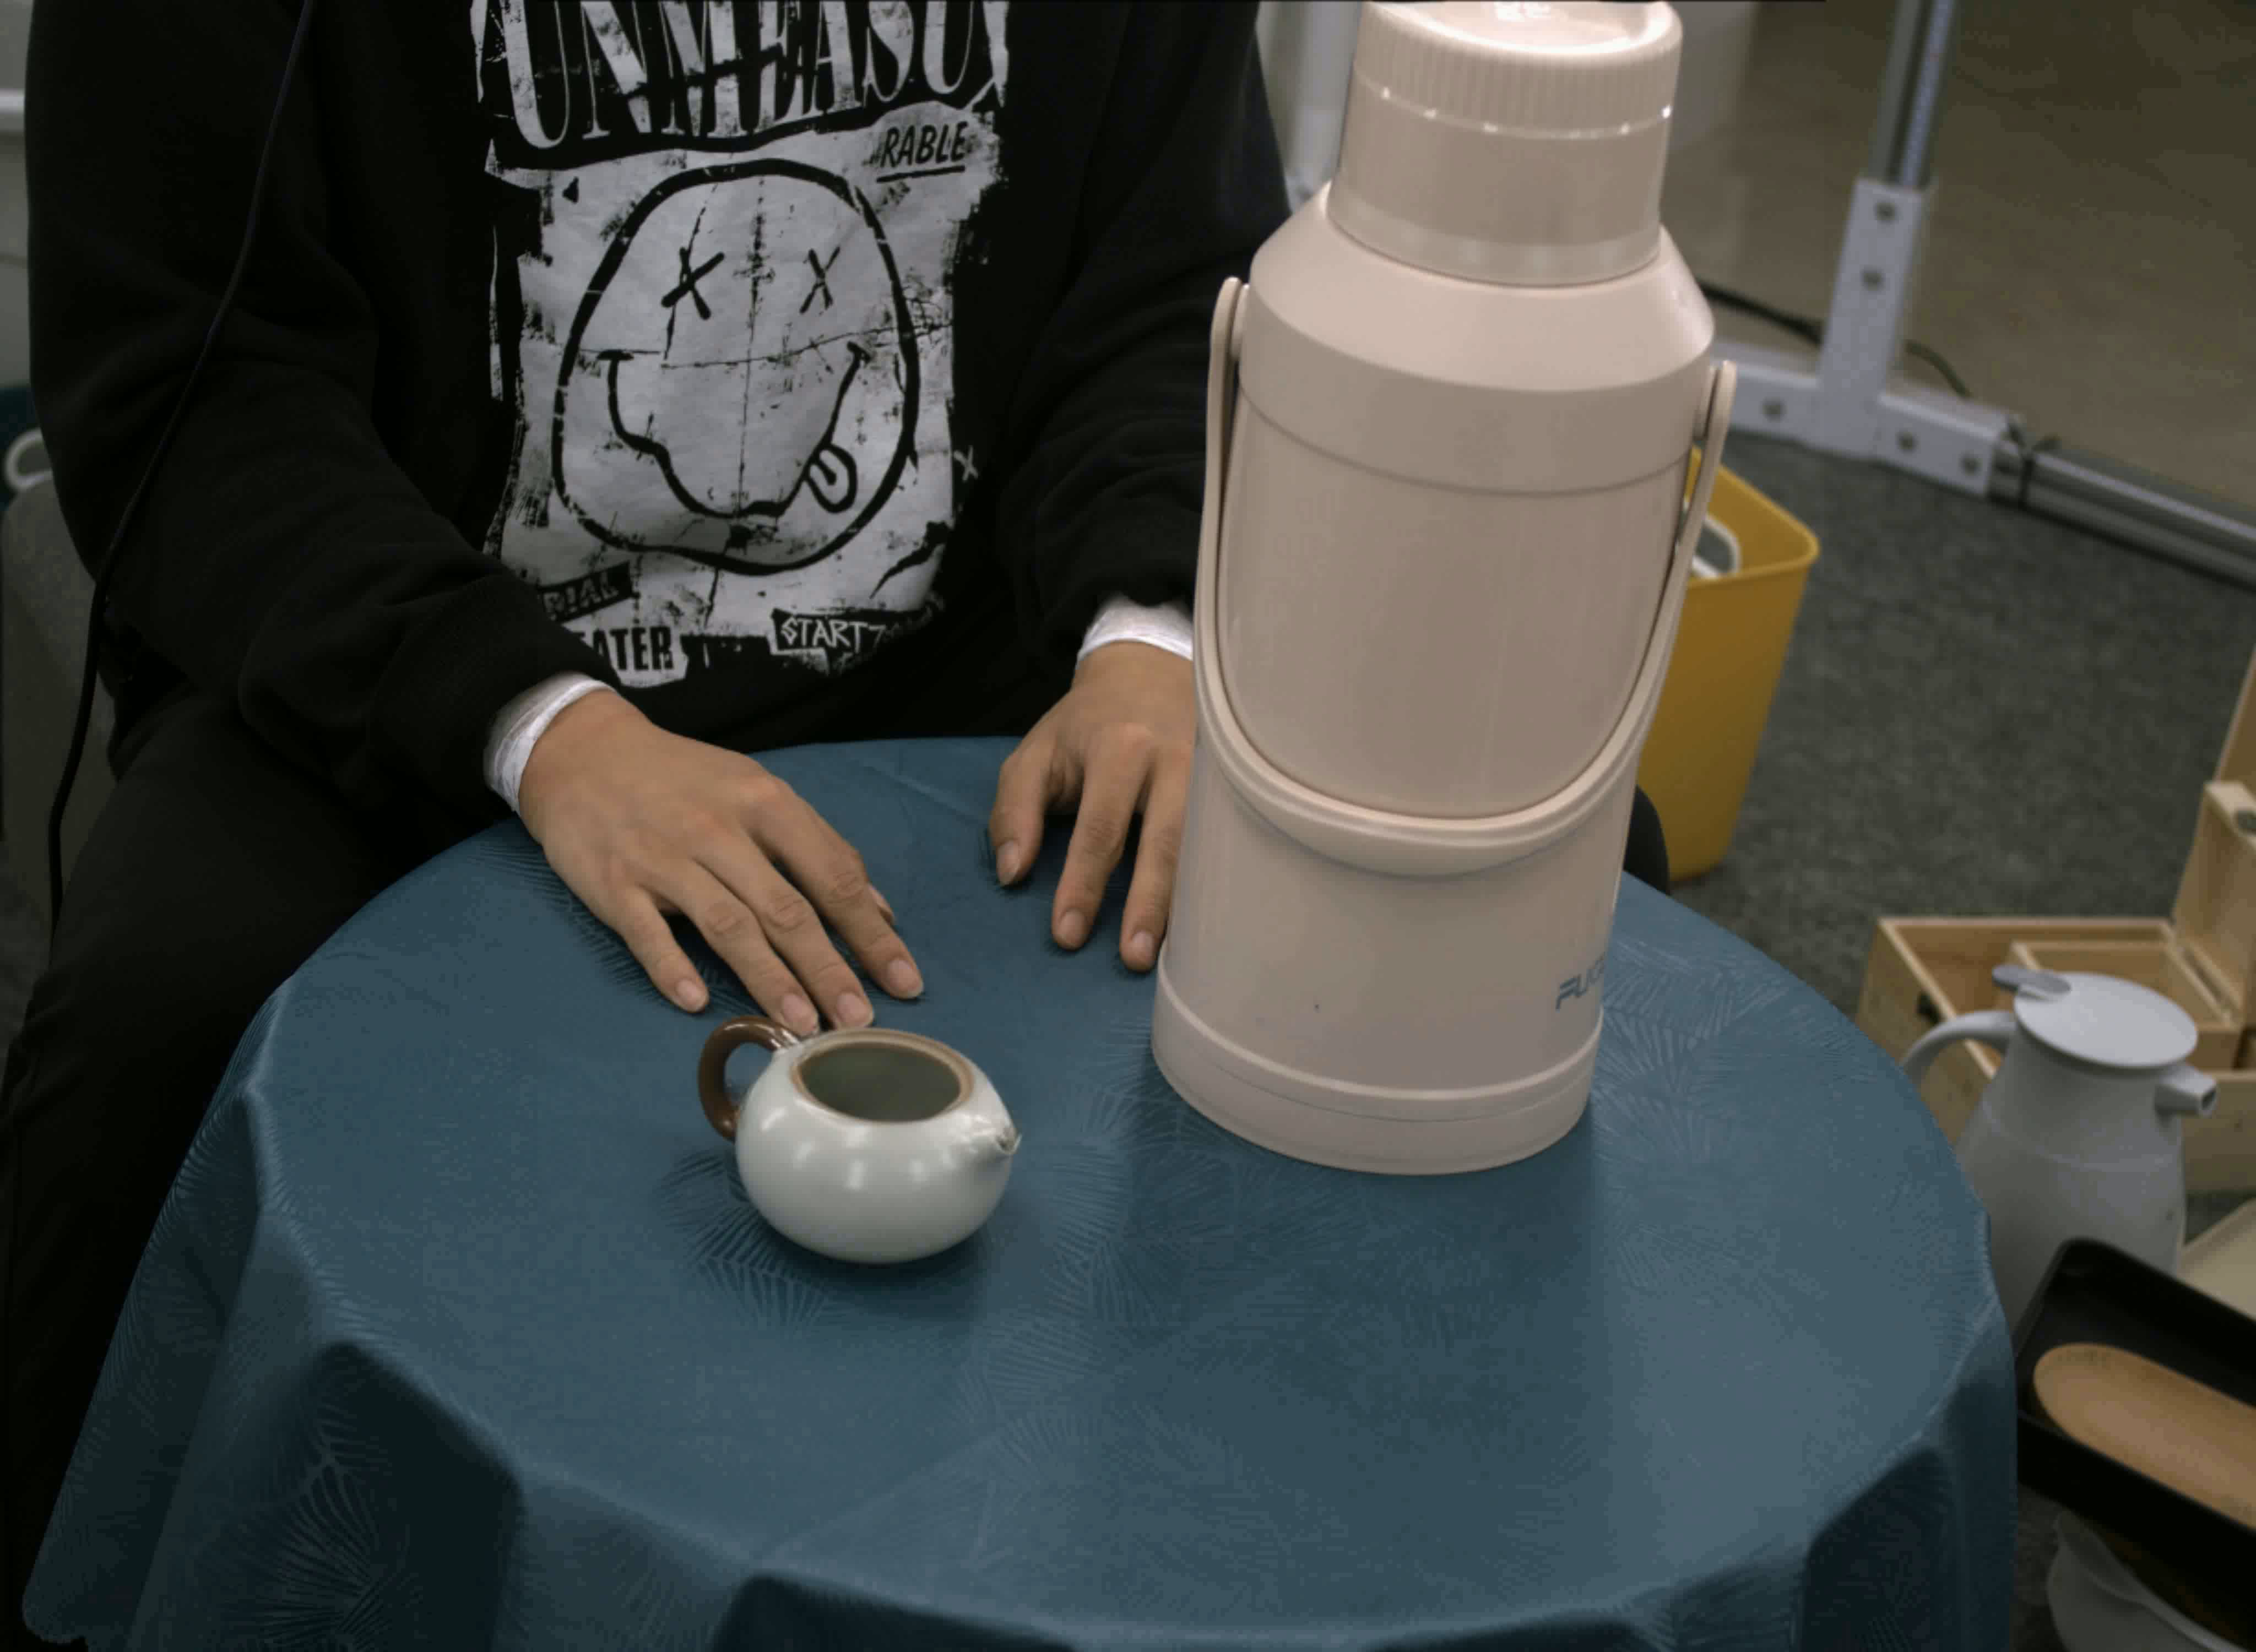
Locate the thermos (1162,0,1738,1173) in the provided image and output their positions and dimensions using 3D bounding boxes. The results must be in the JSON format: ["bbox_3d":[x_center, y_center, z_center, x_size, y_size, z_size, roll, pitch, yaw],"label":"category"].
[{"bbox_3d":[0.112,-0.097,1.828,0.175,0.405,0.208,8,27,7],"label":"thermos"}]

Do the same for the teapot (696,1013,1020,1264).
[{"bbox_3d":[-0.092,0.102,1.762,0.129,0.059,0.091,23,34,26],"label":"teapot"}]
